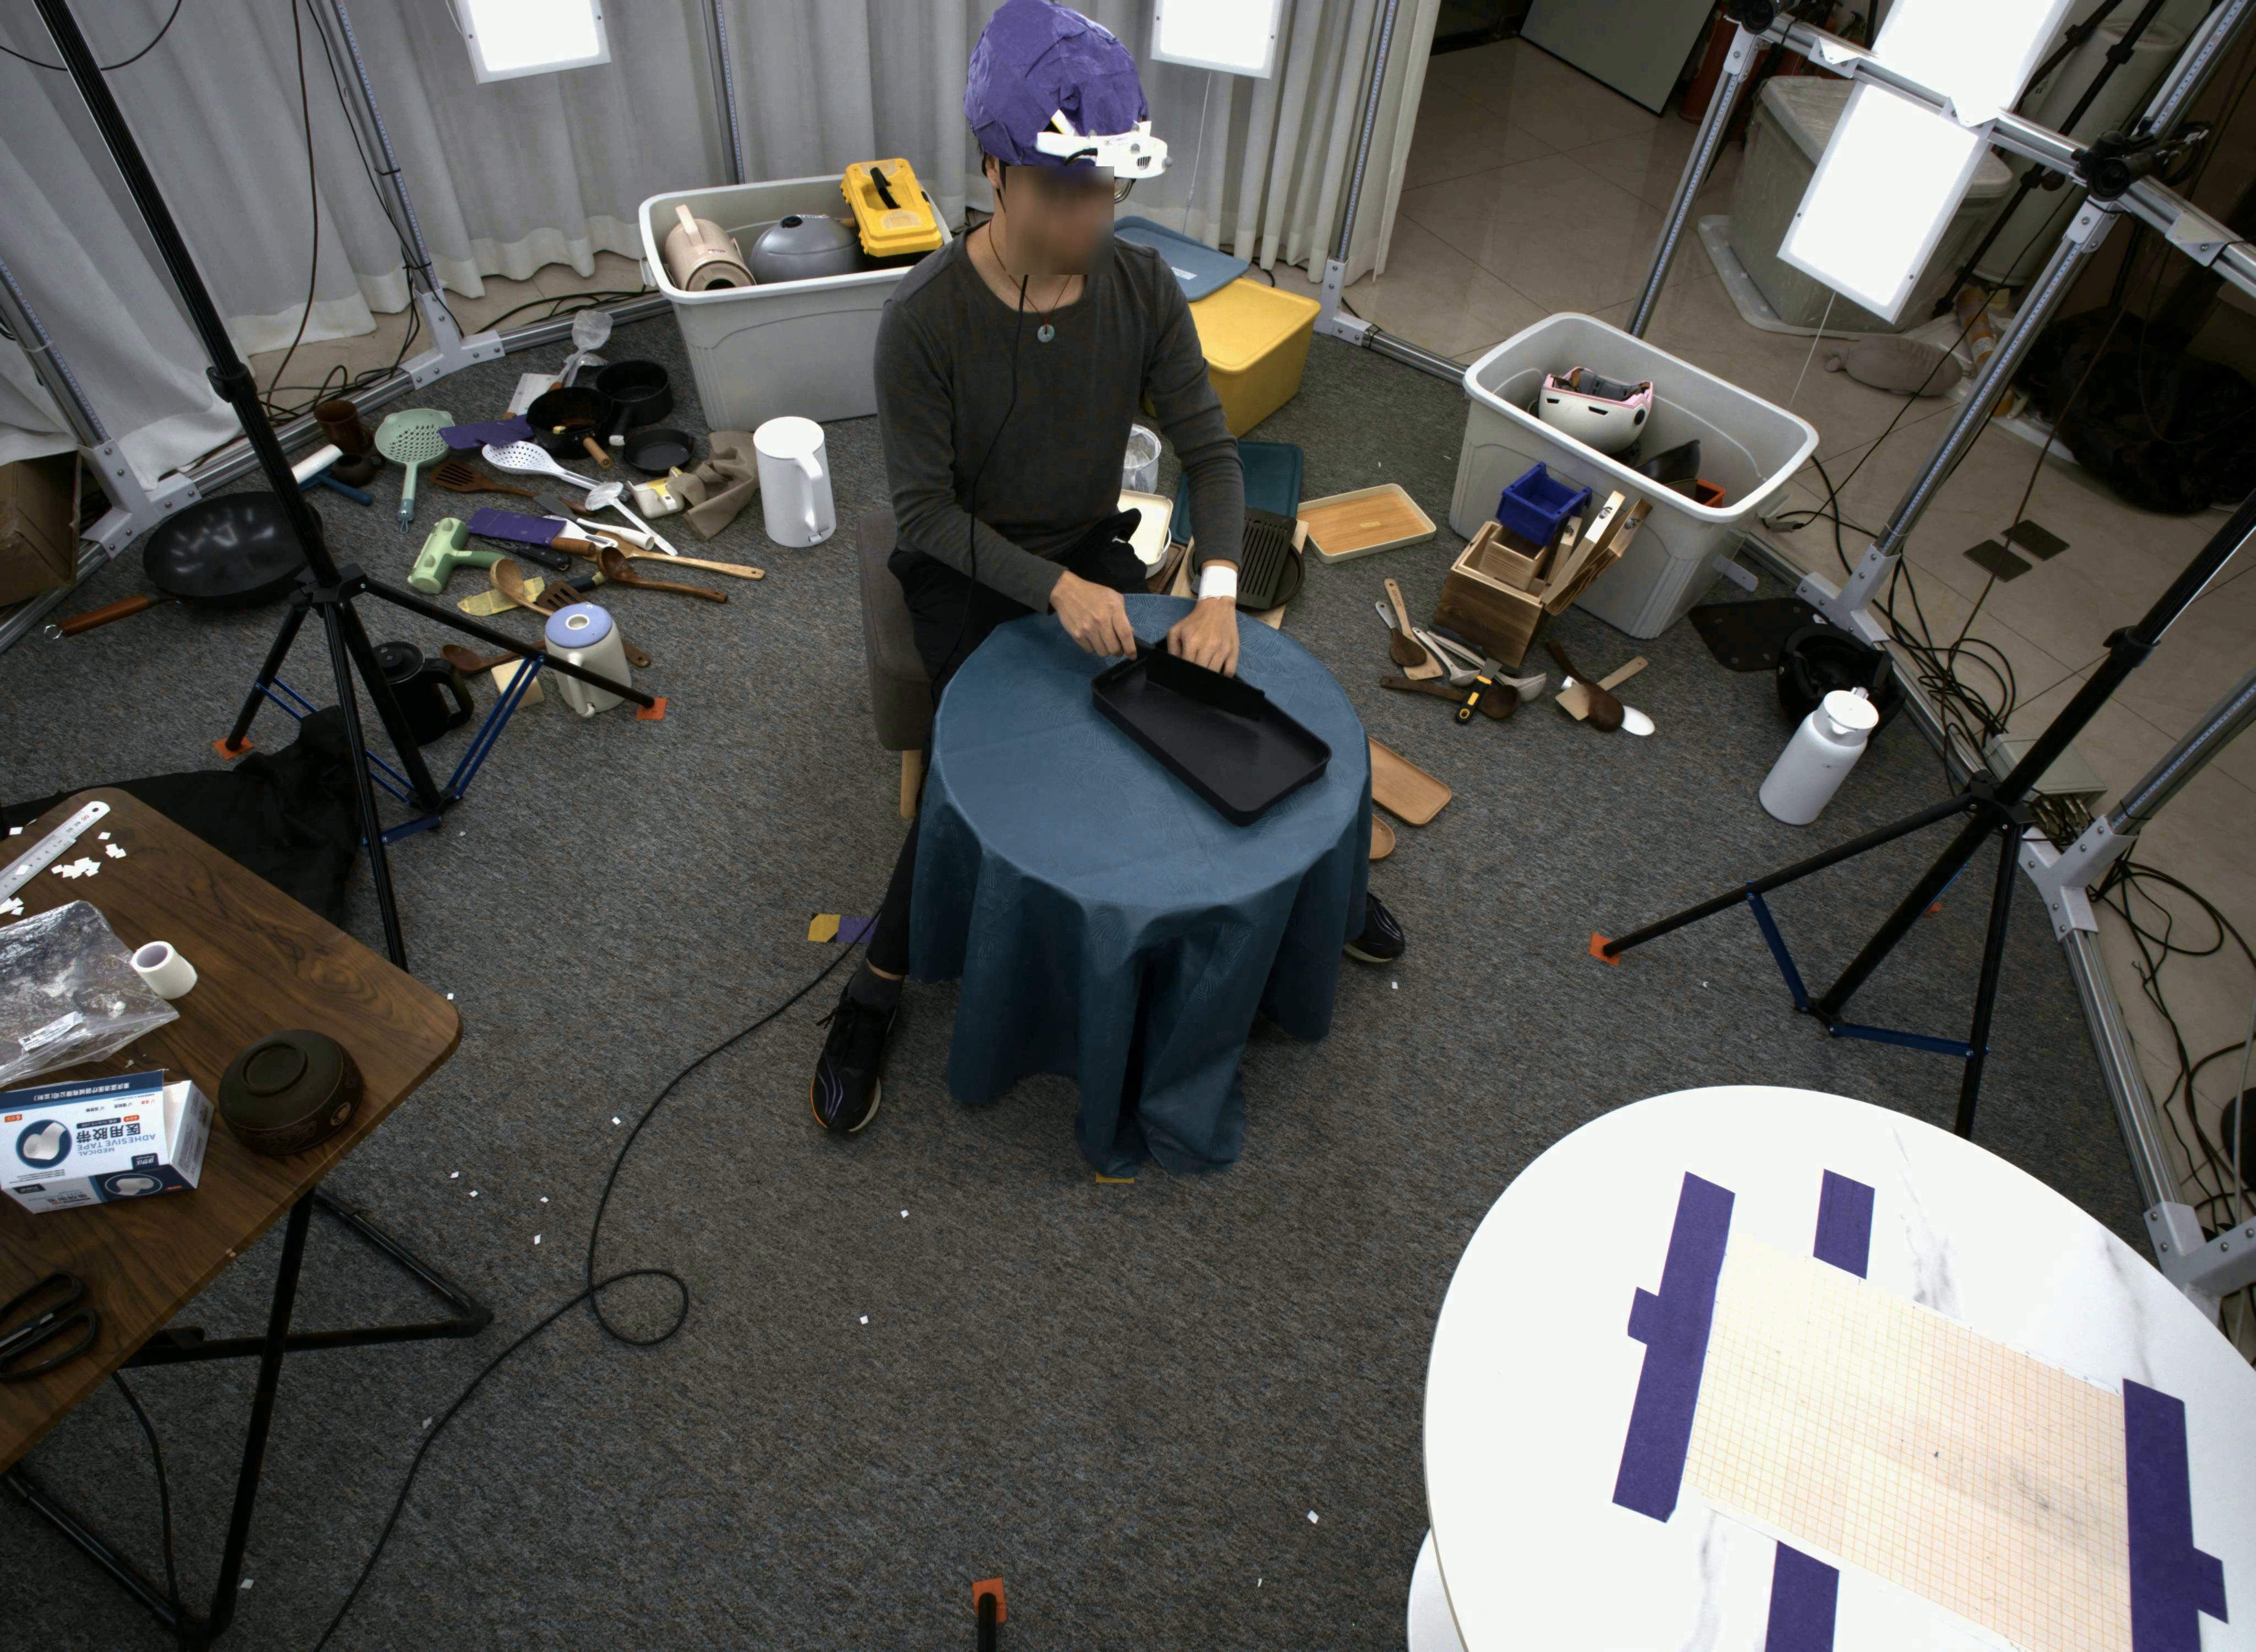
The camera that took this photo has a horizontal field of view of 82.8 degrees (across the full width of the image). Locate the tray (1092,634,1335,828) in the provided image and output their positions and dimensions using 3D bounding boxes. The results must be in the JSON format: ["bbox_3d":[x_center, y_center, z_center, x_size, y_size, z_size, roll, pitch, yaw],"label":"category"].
[{"bbox_3d":[0.114,-0.137,1.770,0.186,0.036,0.323,-34,59,-29],"label":"tray"}]

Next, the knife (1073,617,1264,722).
[{"bbox_3d":[0.055,-0.223,1.807,0.304,0.079,0.021,27,51,16],"label":"knife"}]
